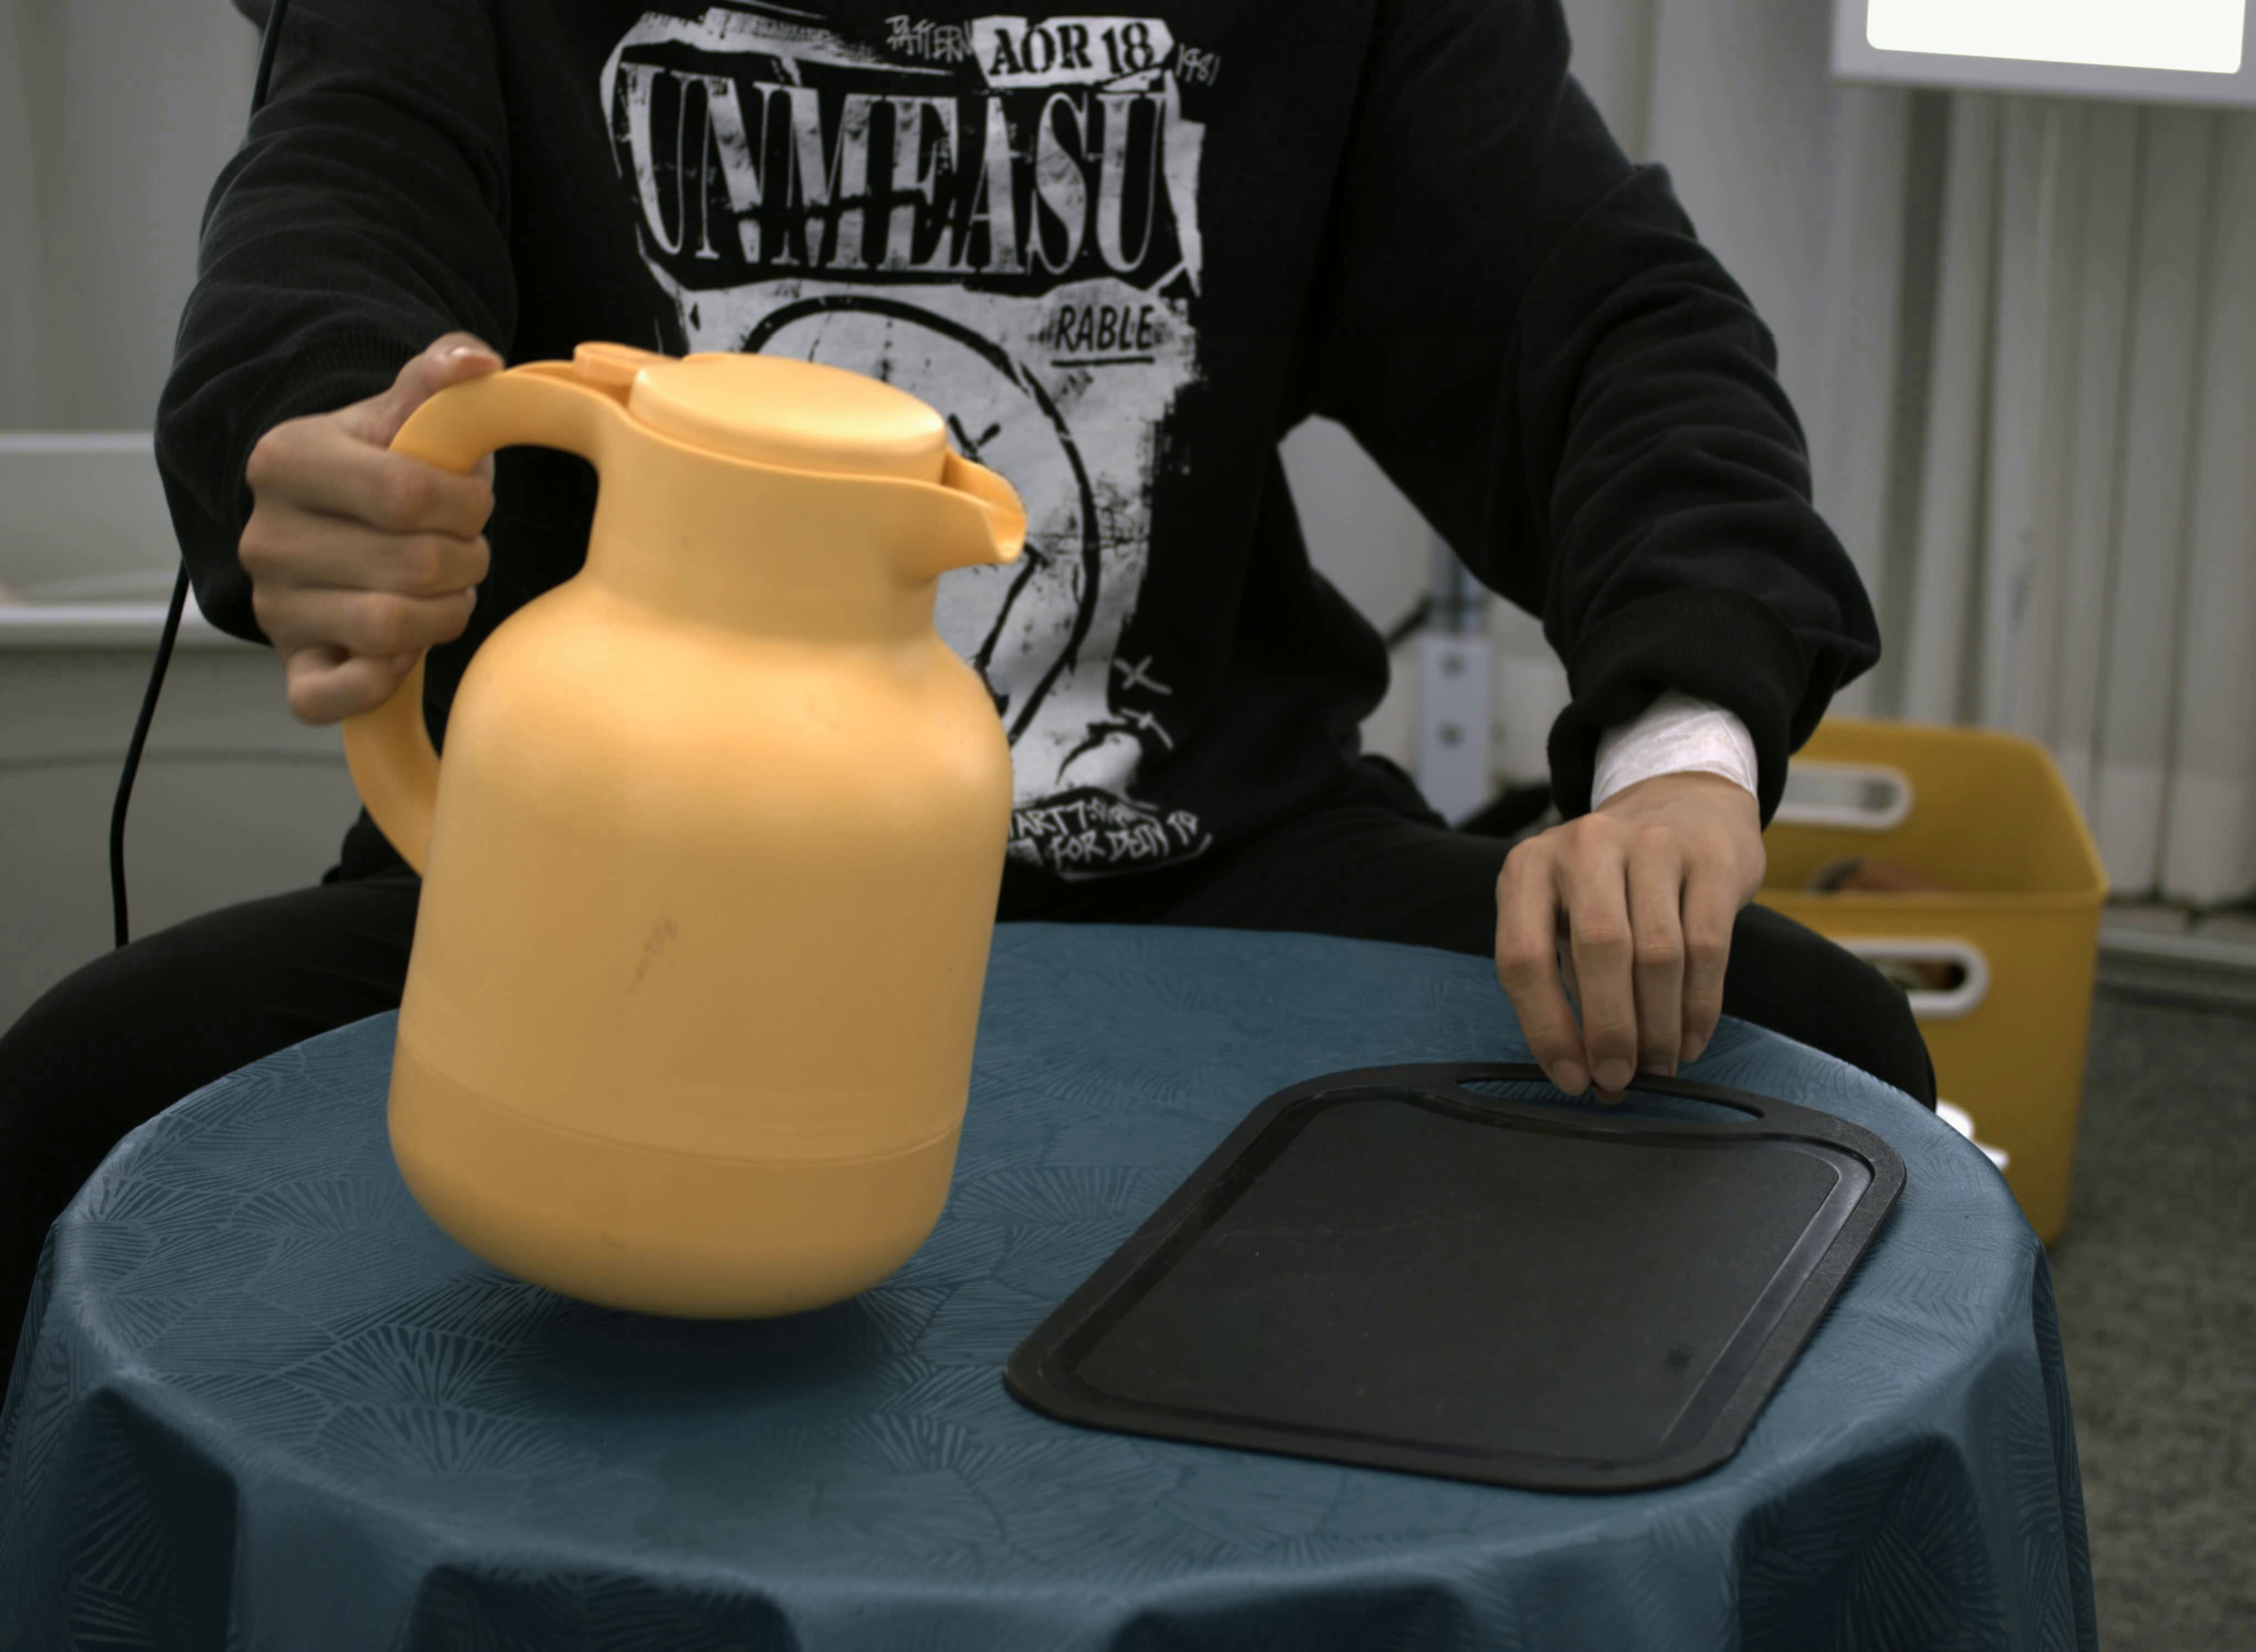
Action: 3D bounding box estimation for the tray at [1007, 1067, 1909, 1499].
[{"bbox_3d":[0.106,0.125,1.558,0.209,0.010,0.325,7,18,19],"label":"tray"}]

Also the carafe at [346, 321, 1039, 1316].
[{"bbox_3d":[-0.130,-0.010,1.476,0.200,0.262,0.164,19,17,21],"label":"carafe"}]
